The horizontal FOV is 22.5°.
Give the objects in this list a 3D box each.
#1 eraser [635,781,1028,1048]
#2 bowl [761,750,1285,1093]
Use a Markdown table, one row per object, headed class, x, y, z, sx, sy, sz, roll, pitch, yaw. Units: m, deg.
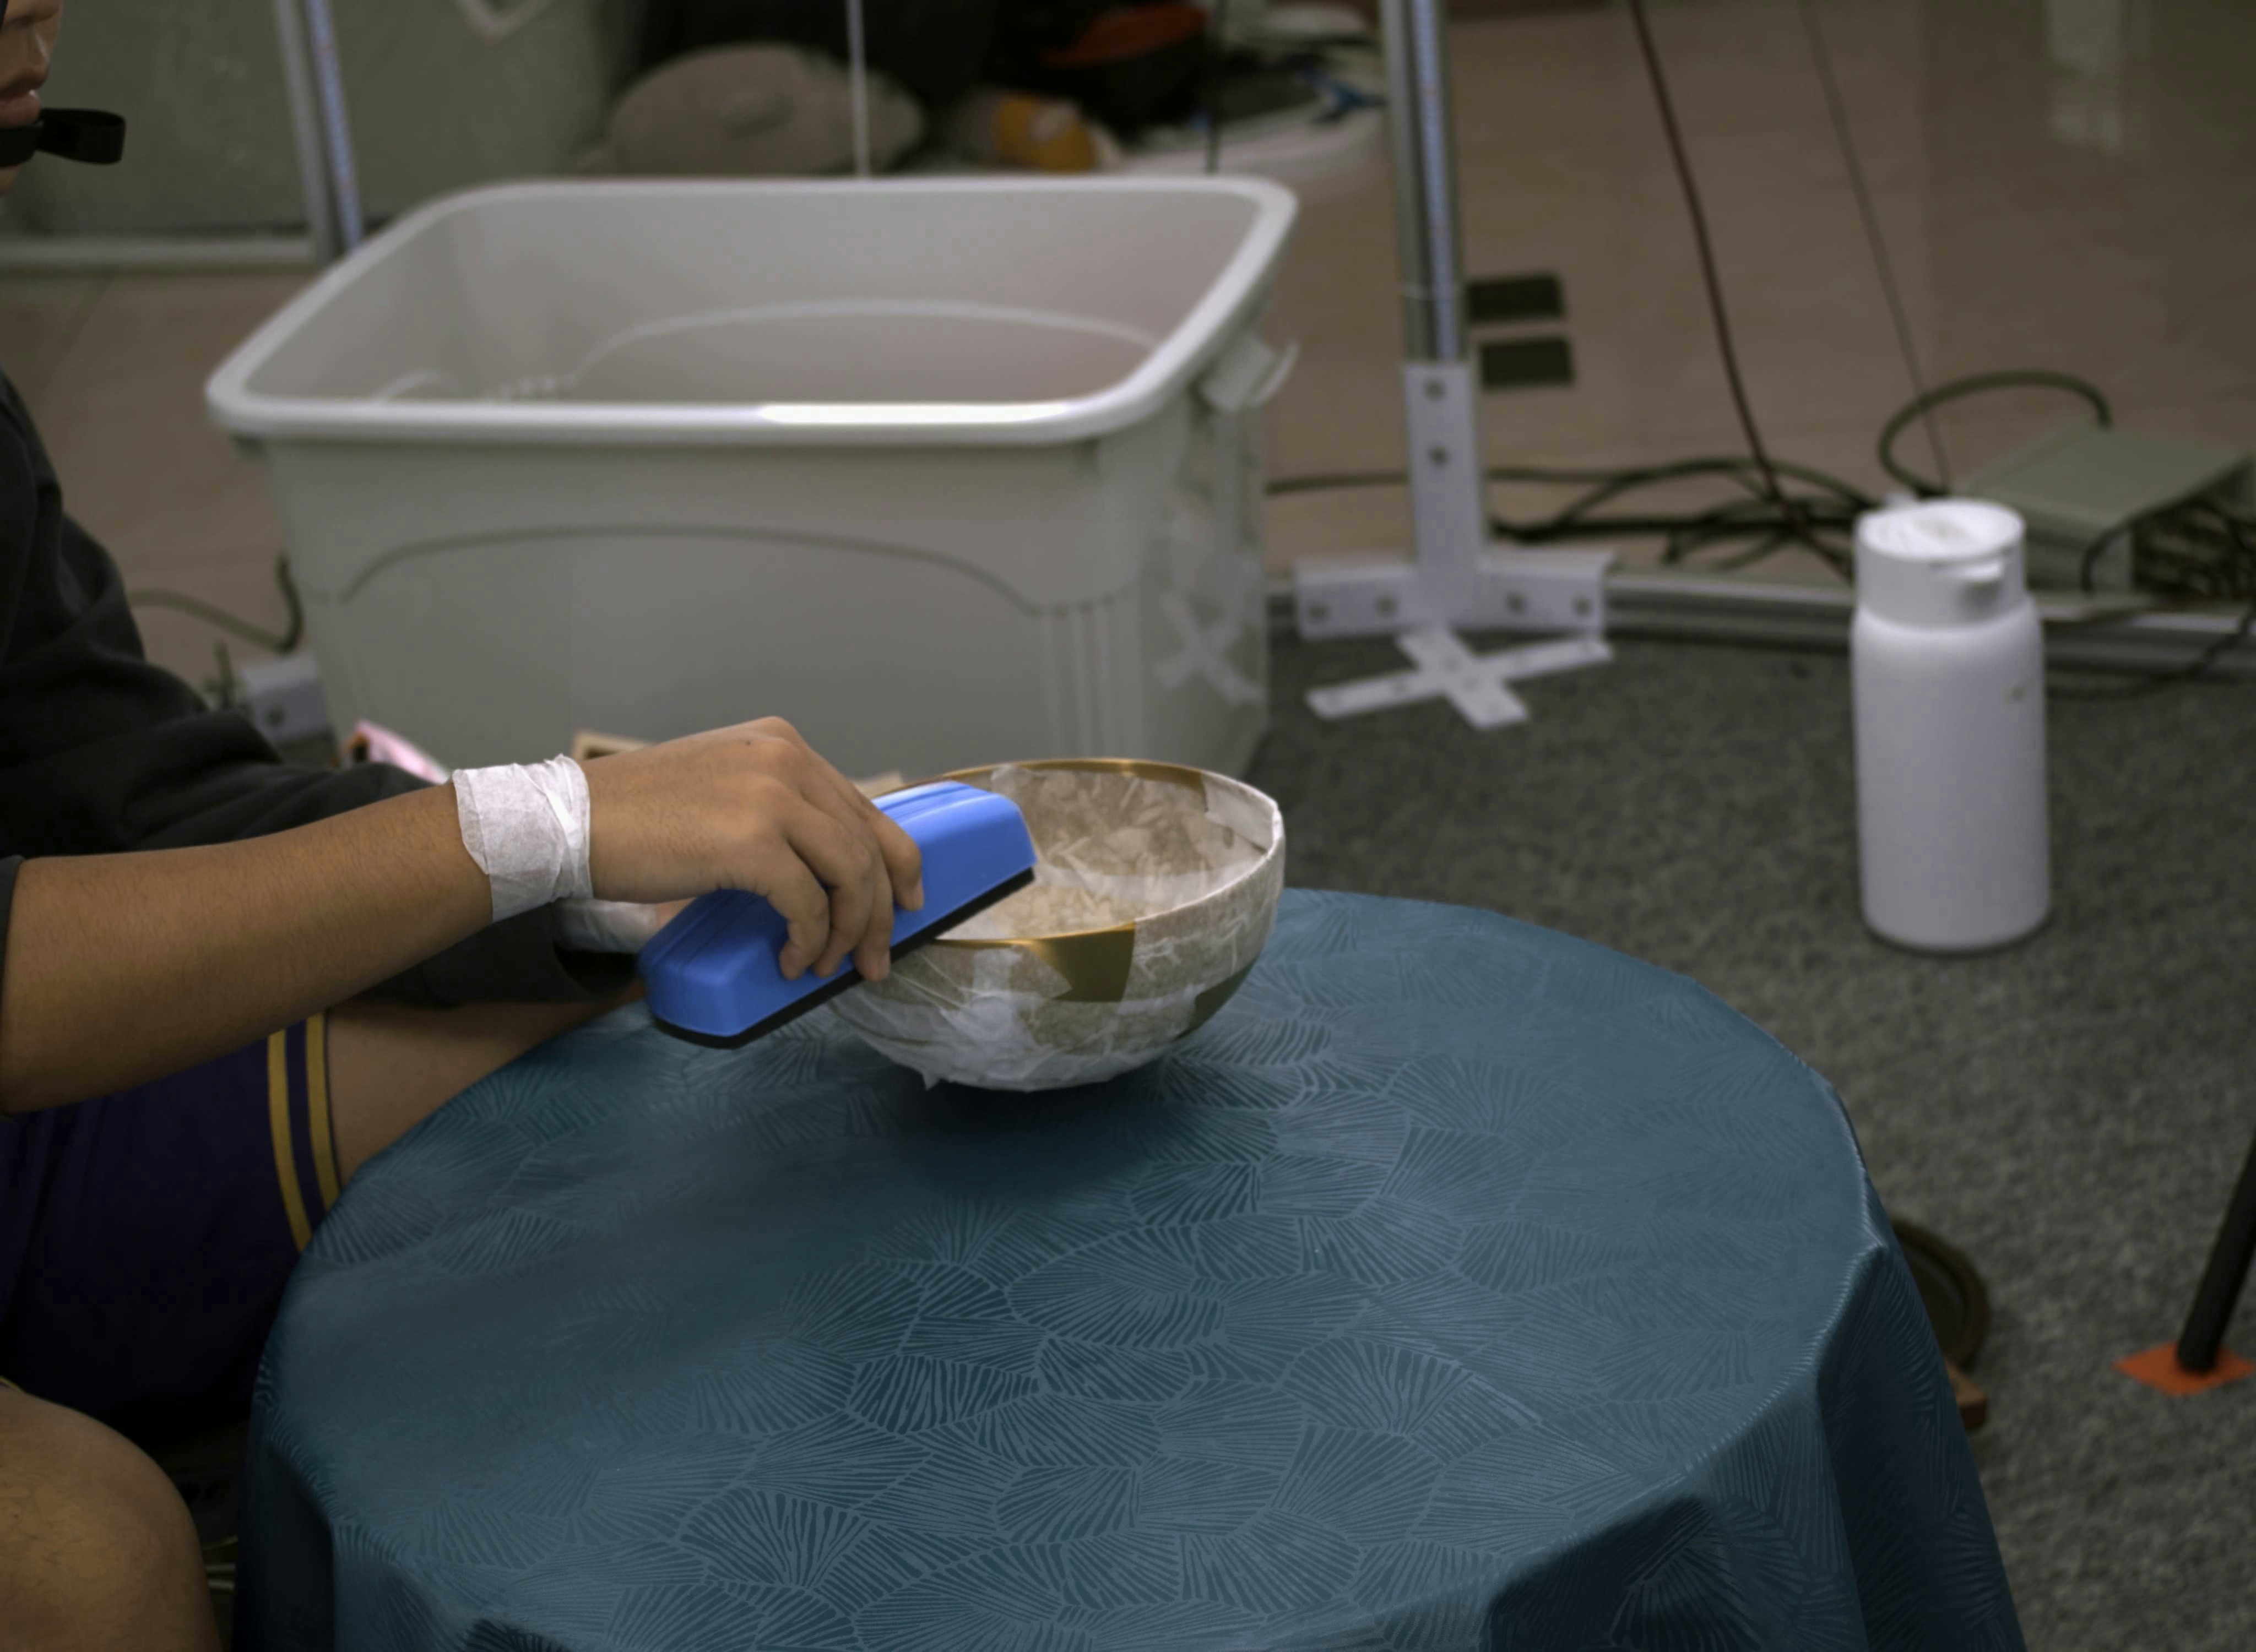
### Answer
| class | x | y | z | sx | sy | sz | roll | pitch | yaw |
| --- | --- | --- | --- | --- | --- | --- | --- | --- | --- |
| eraser | -0.111 | 0.027 | 2.123 | 0.161 | 0.048 | 0.053 | -31 | 34 | -34 |
| bowl | -0.039 | 0.048 | 2.231 | 0.214 | 0.096 | 0.212 | -5 | 21 | 2 |
